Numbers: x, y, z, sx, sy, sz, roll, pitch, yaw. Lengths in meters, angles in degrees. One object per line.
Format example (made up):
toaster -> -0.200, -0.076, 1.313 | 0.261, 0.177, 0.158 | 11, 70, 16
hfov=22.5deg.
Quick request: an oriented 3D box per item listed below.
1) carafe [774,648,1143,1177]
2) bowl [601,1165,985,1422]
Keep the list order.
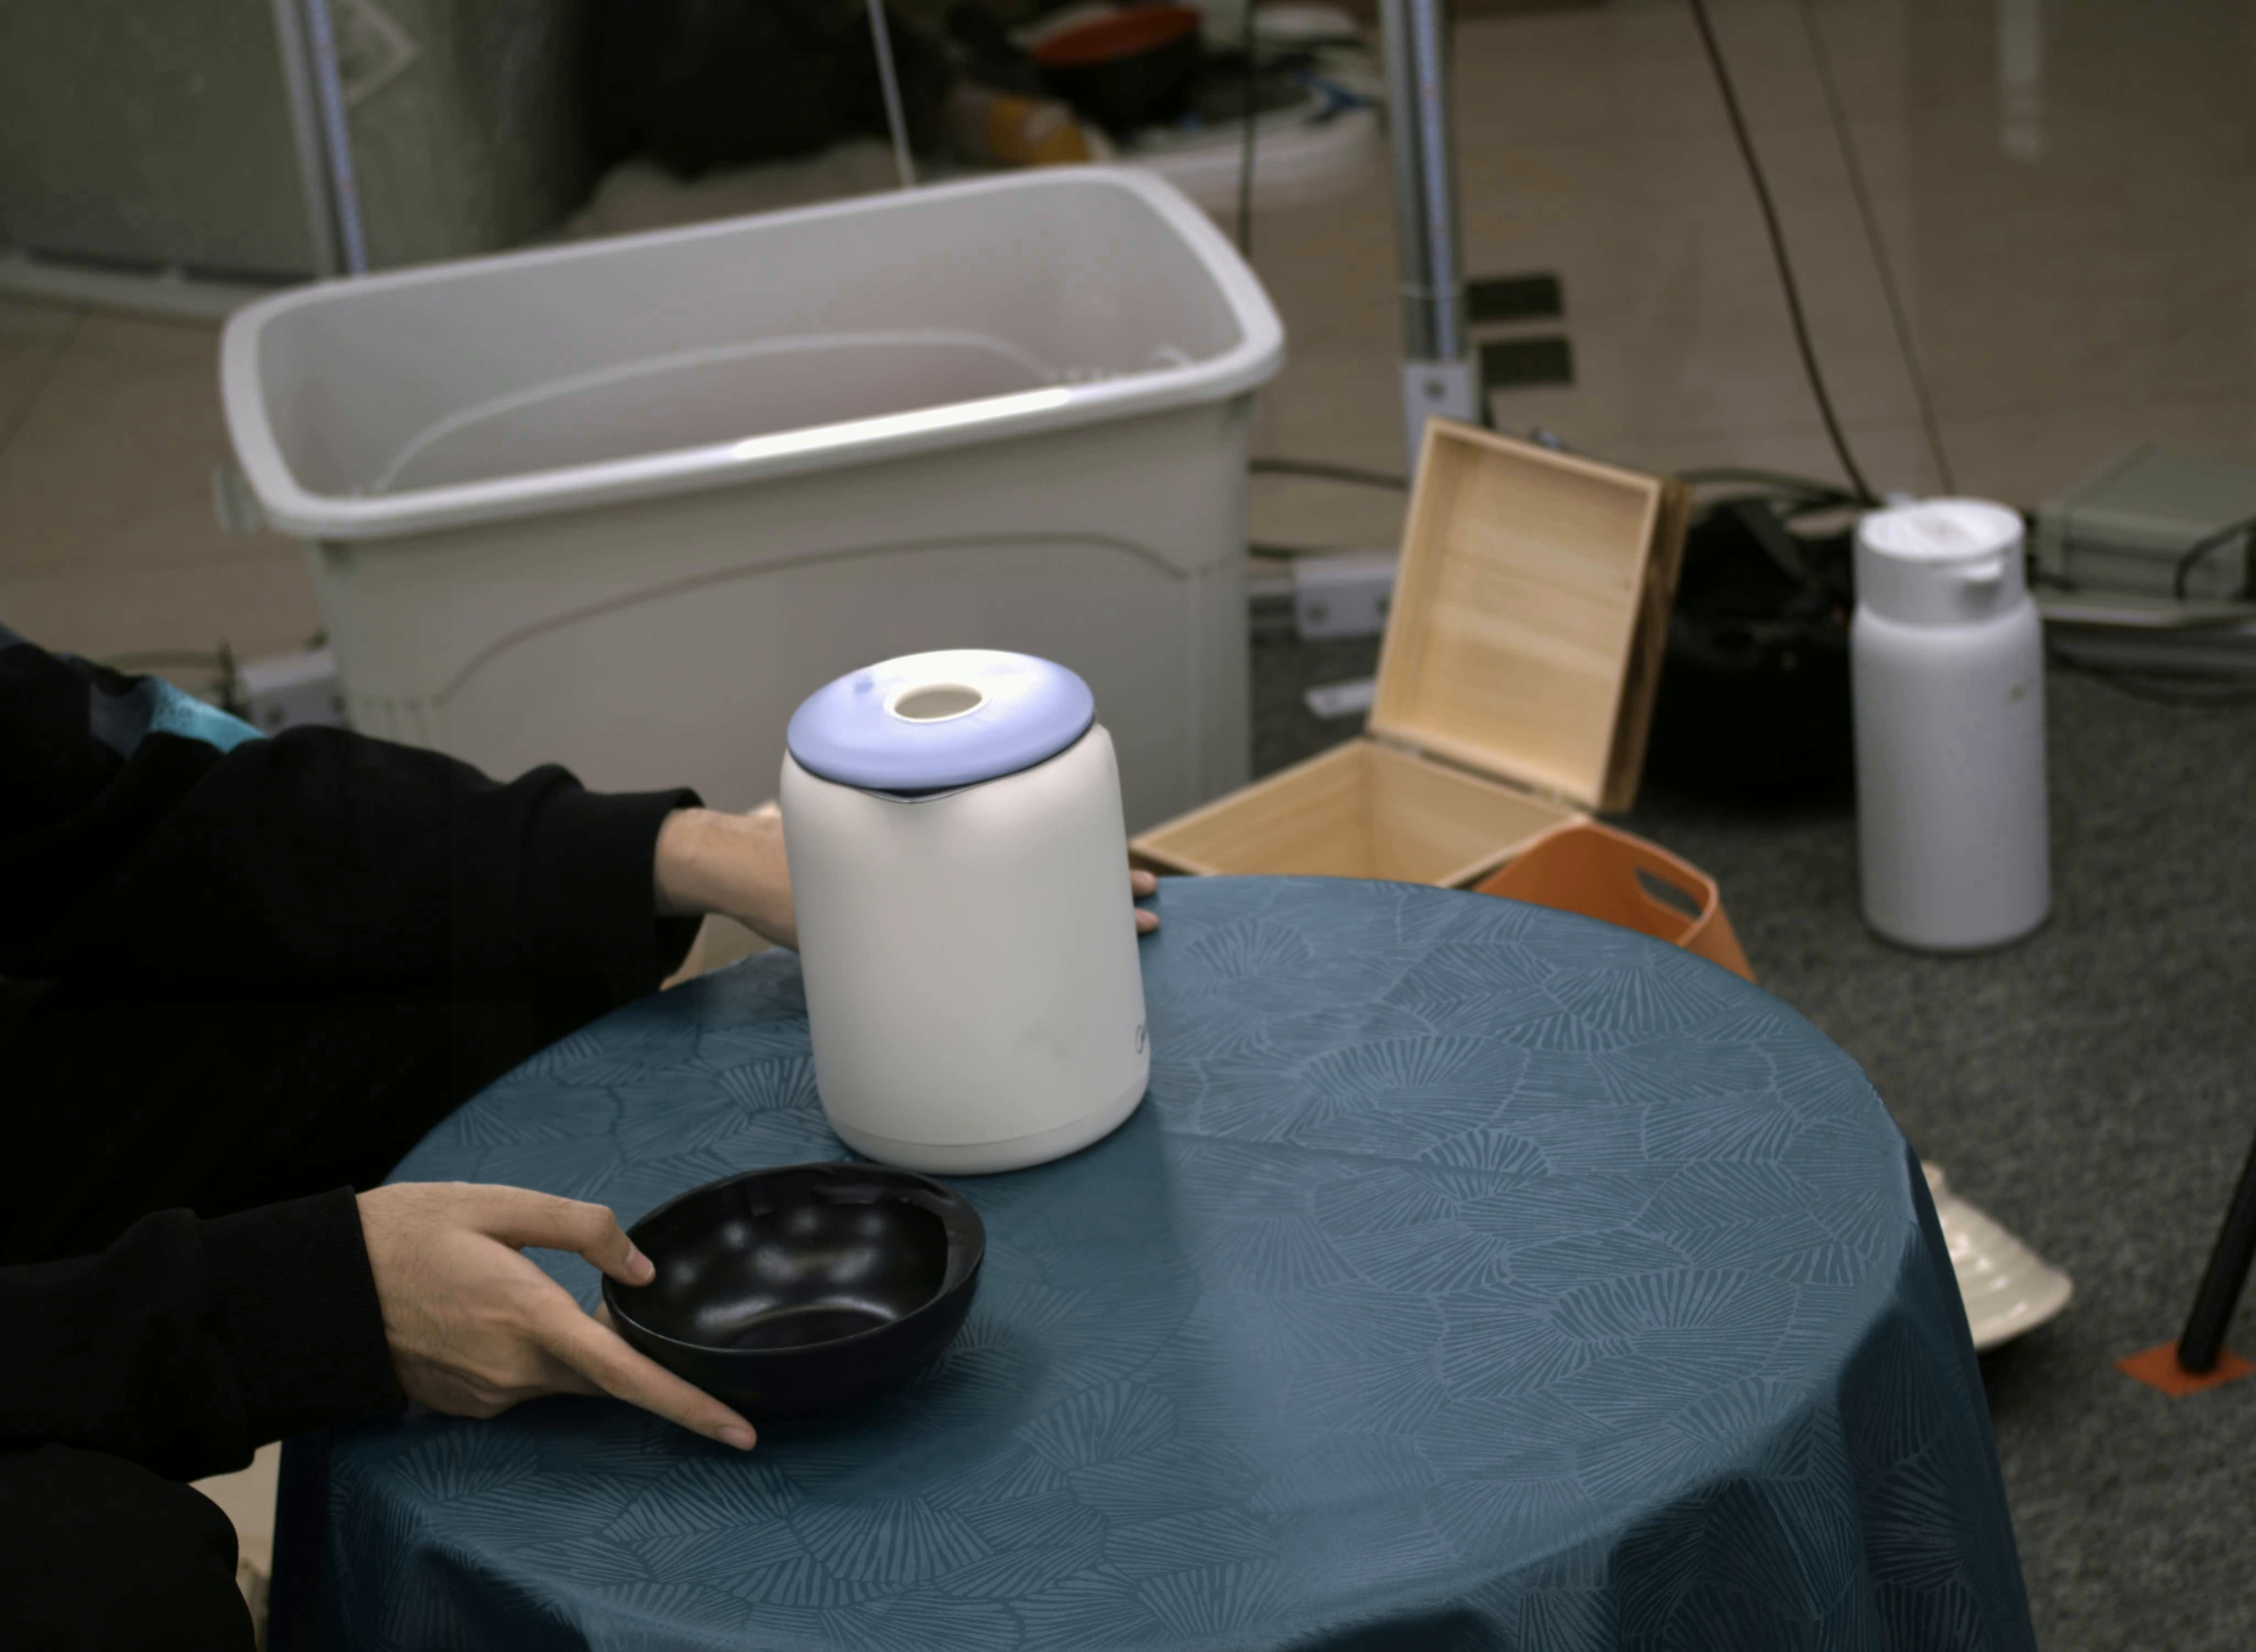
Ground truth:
carafe -> -0.063, 0.023, 2.204 | 0.132, 0.185, 0.188 | -2, 24, 7
bowl -> -0.117, 0.175, 2.038 | 0.140, 0.050, 0.138 | -7, 24, 3
